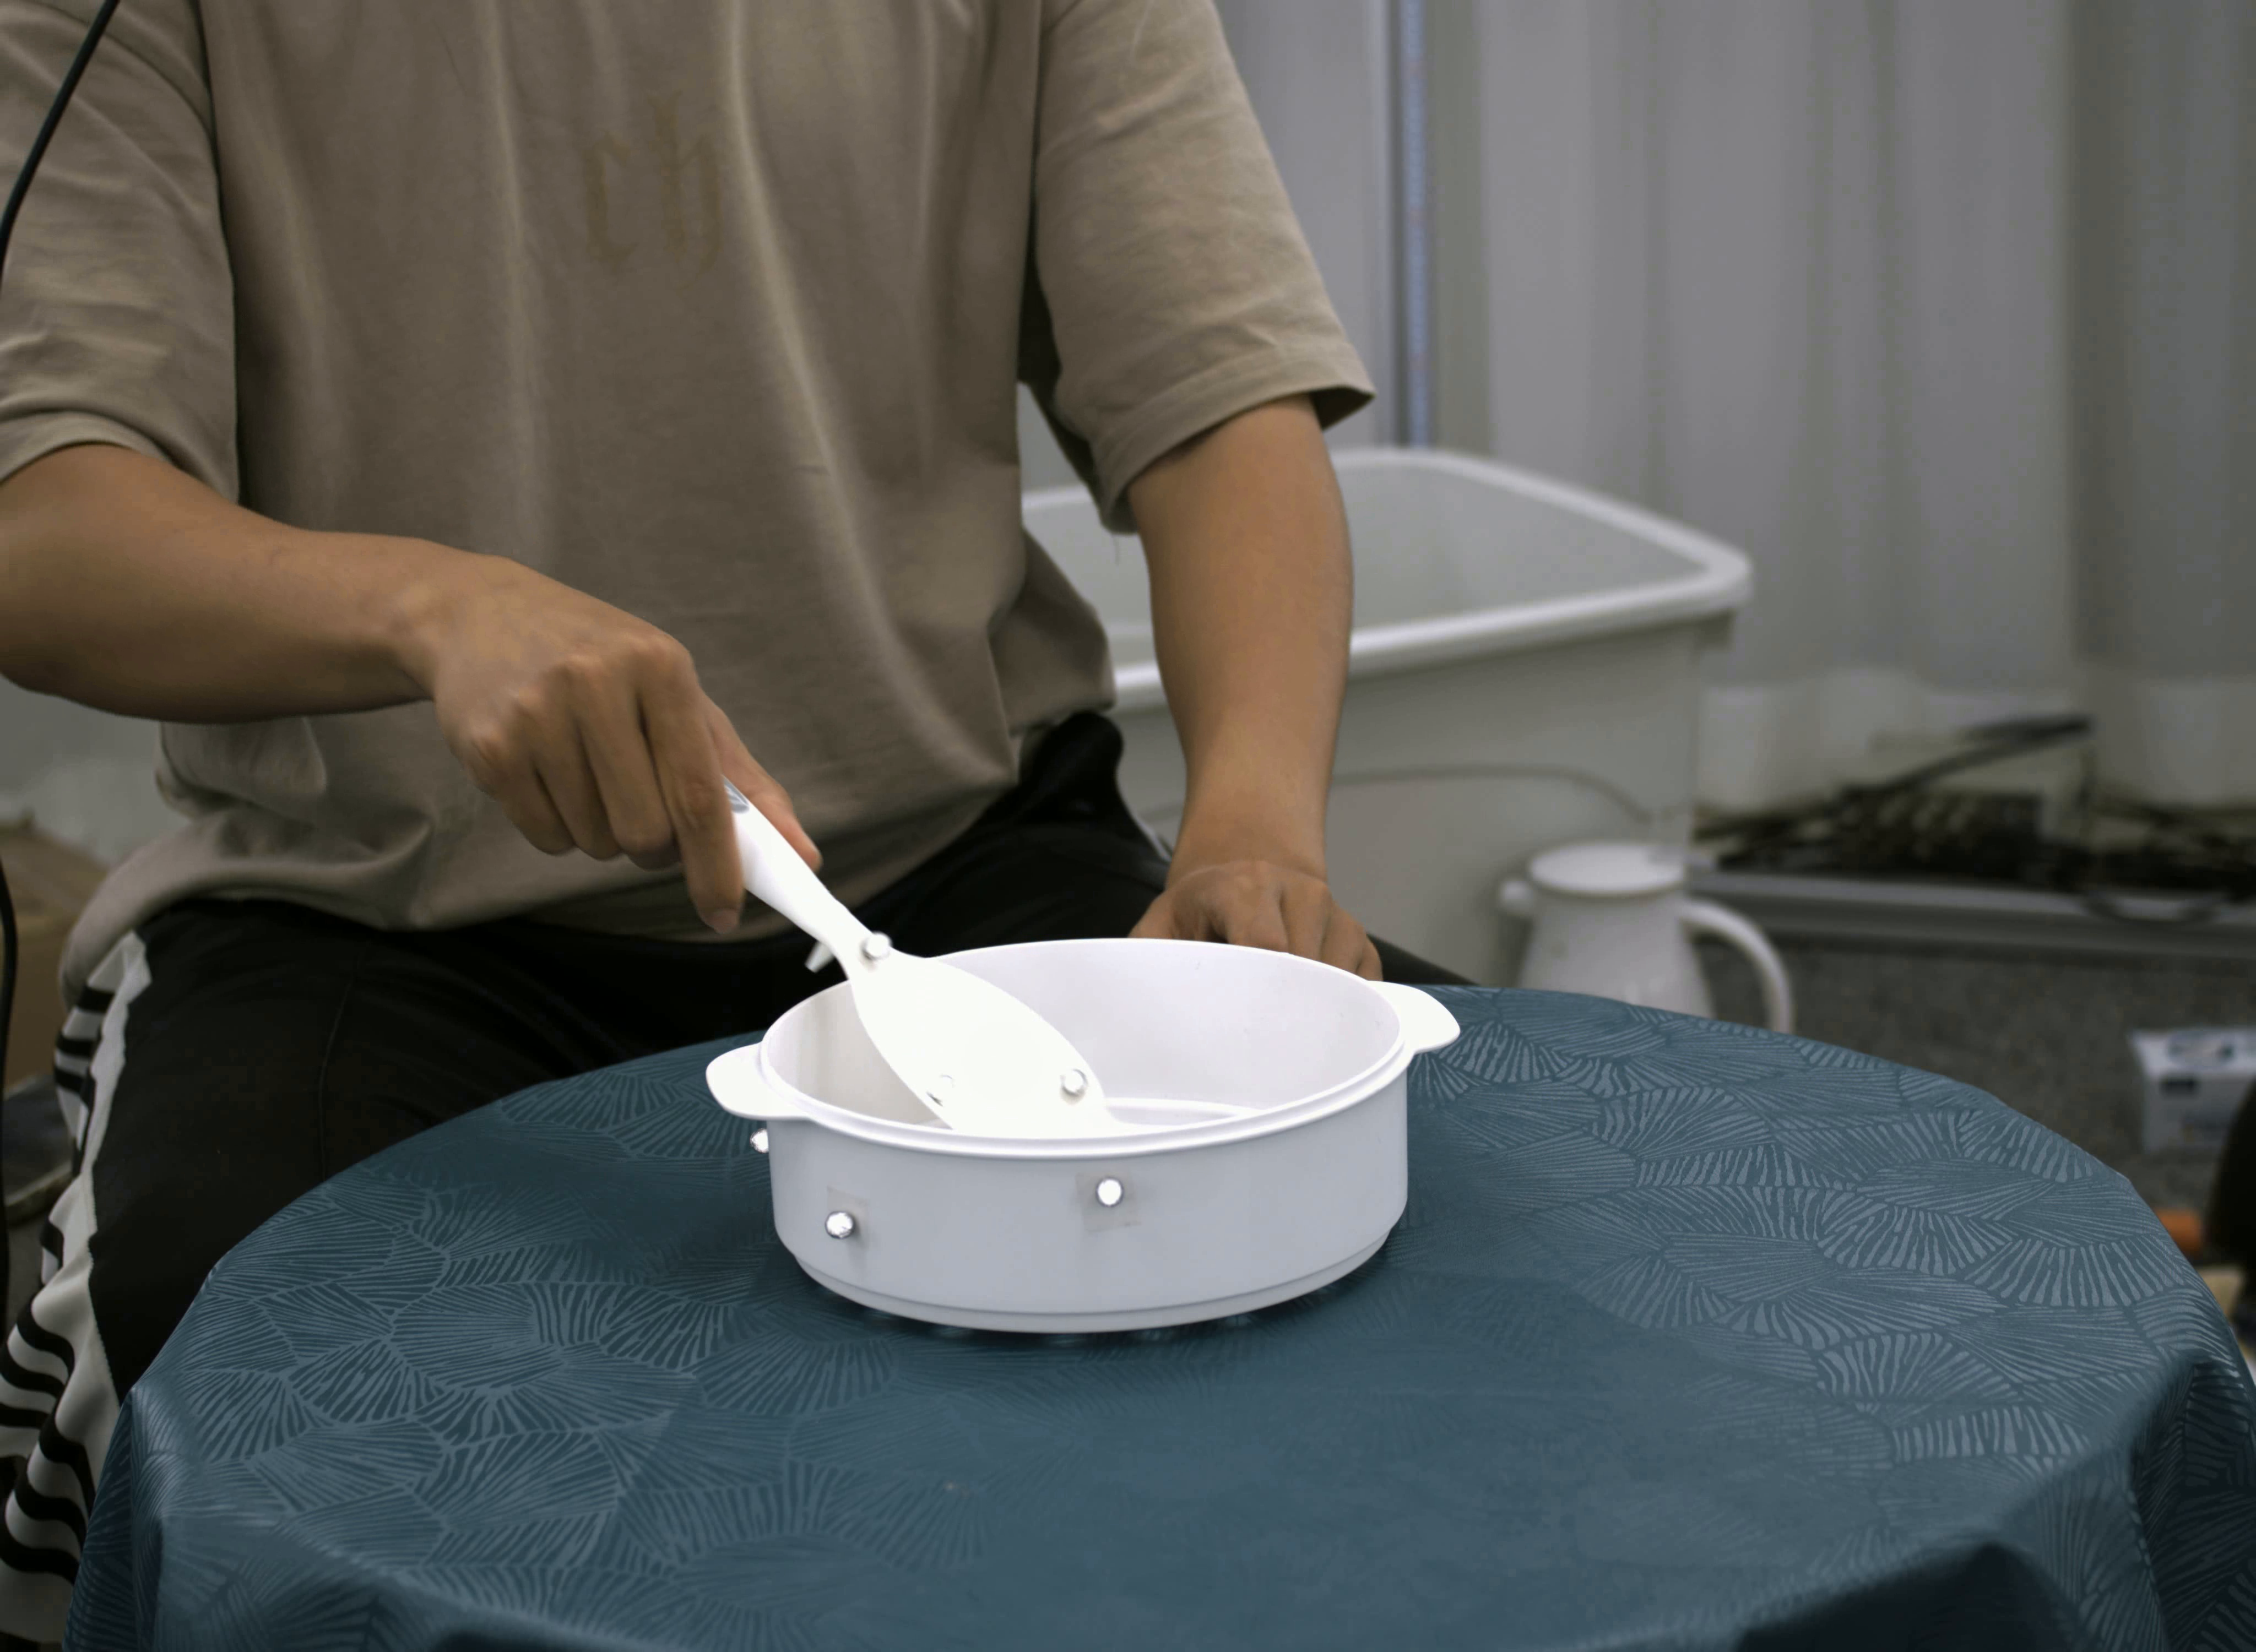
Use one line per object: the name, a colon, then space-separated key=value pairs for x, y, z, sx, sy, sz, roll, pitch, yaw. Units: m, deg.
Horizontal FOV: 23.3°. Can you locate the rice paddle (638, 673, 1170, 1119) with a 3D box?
rice paddle: x=-0.066 y=0.028 z=1.697 sx=0.206 sy=0.029 sz=0.069 roll=40 pitch=36 yaw=10

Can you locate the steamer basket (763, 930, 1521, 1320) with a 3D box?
steamer basket: x=0.004 y=0.091 z=1.663 sx=0.229 sy=0.069 sz=0.203 roll=-3 pitch=15 yaw=-11
